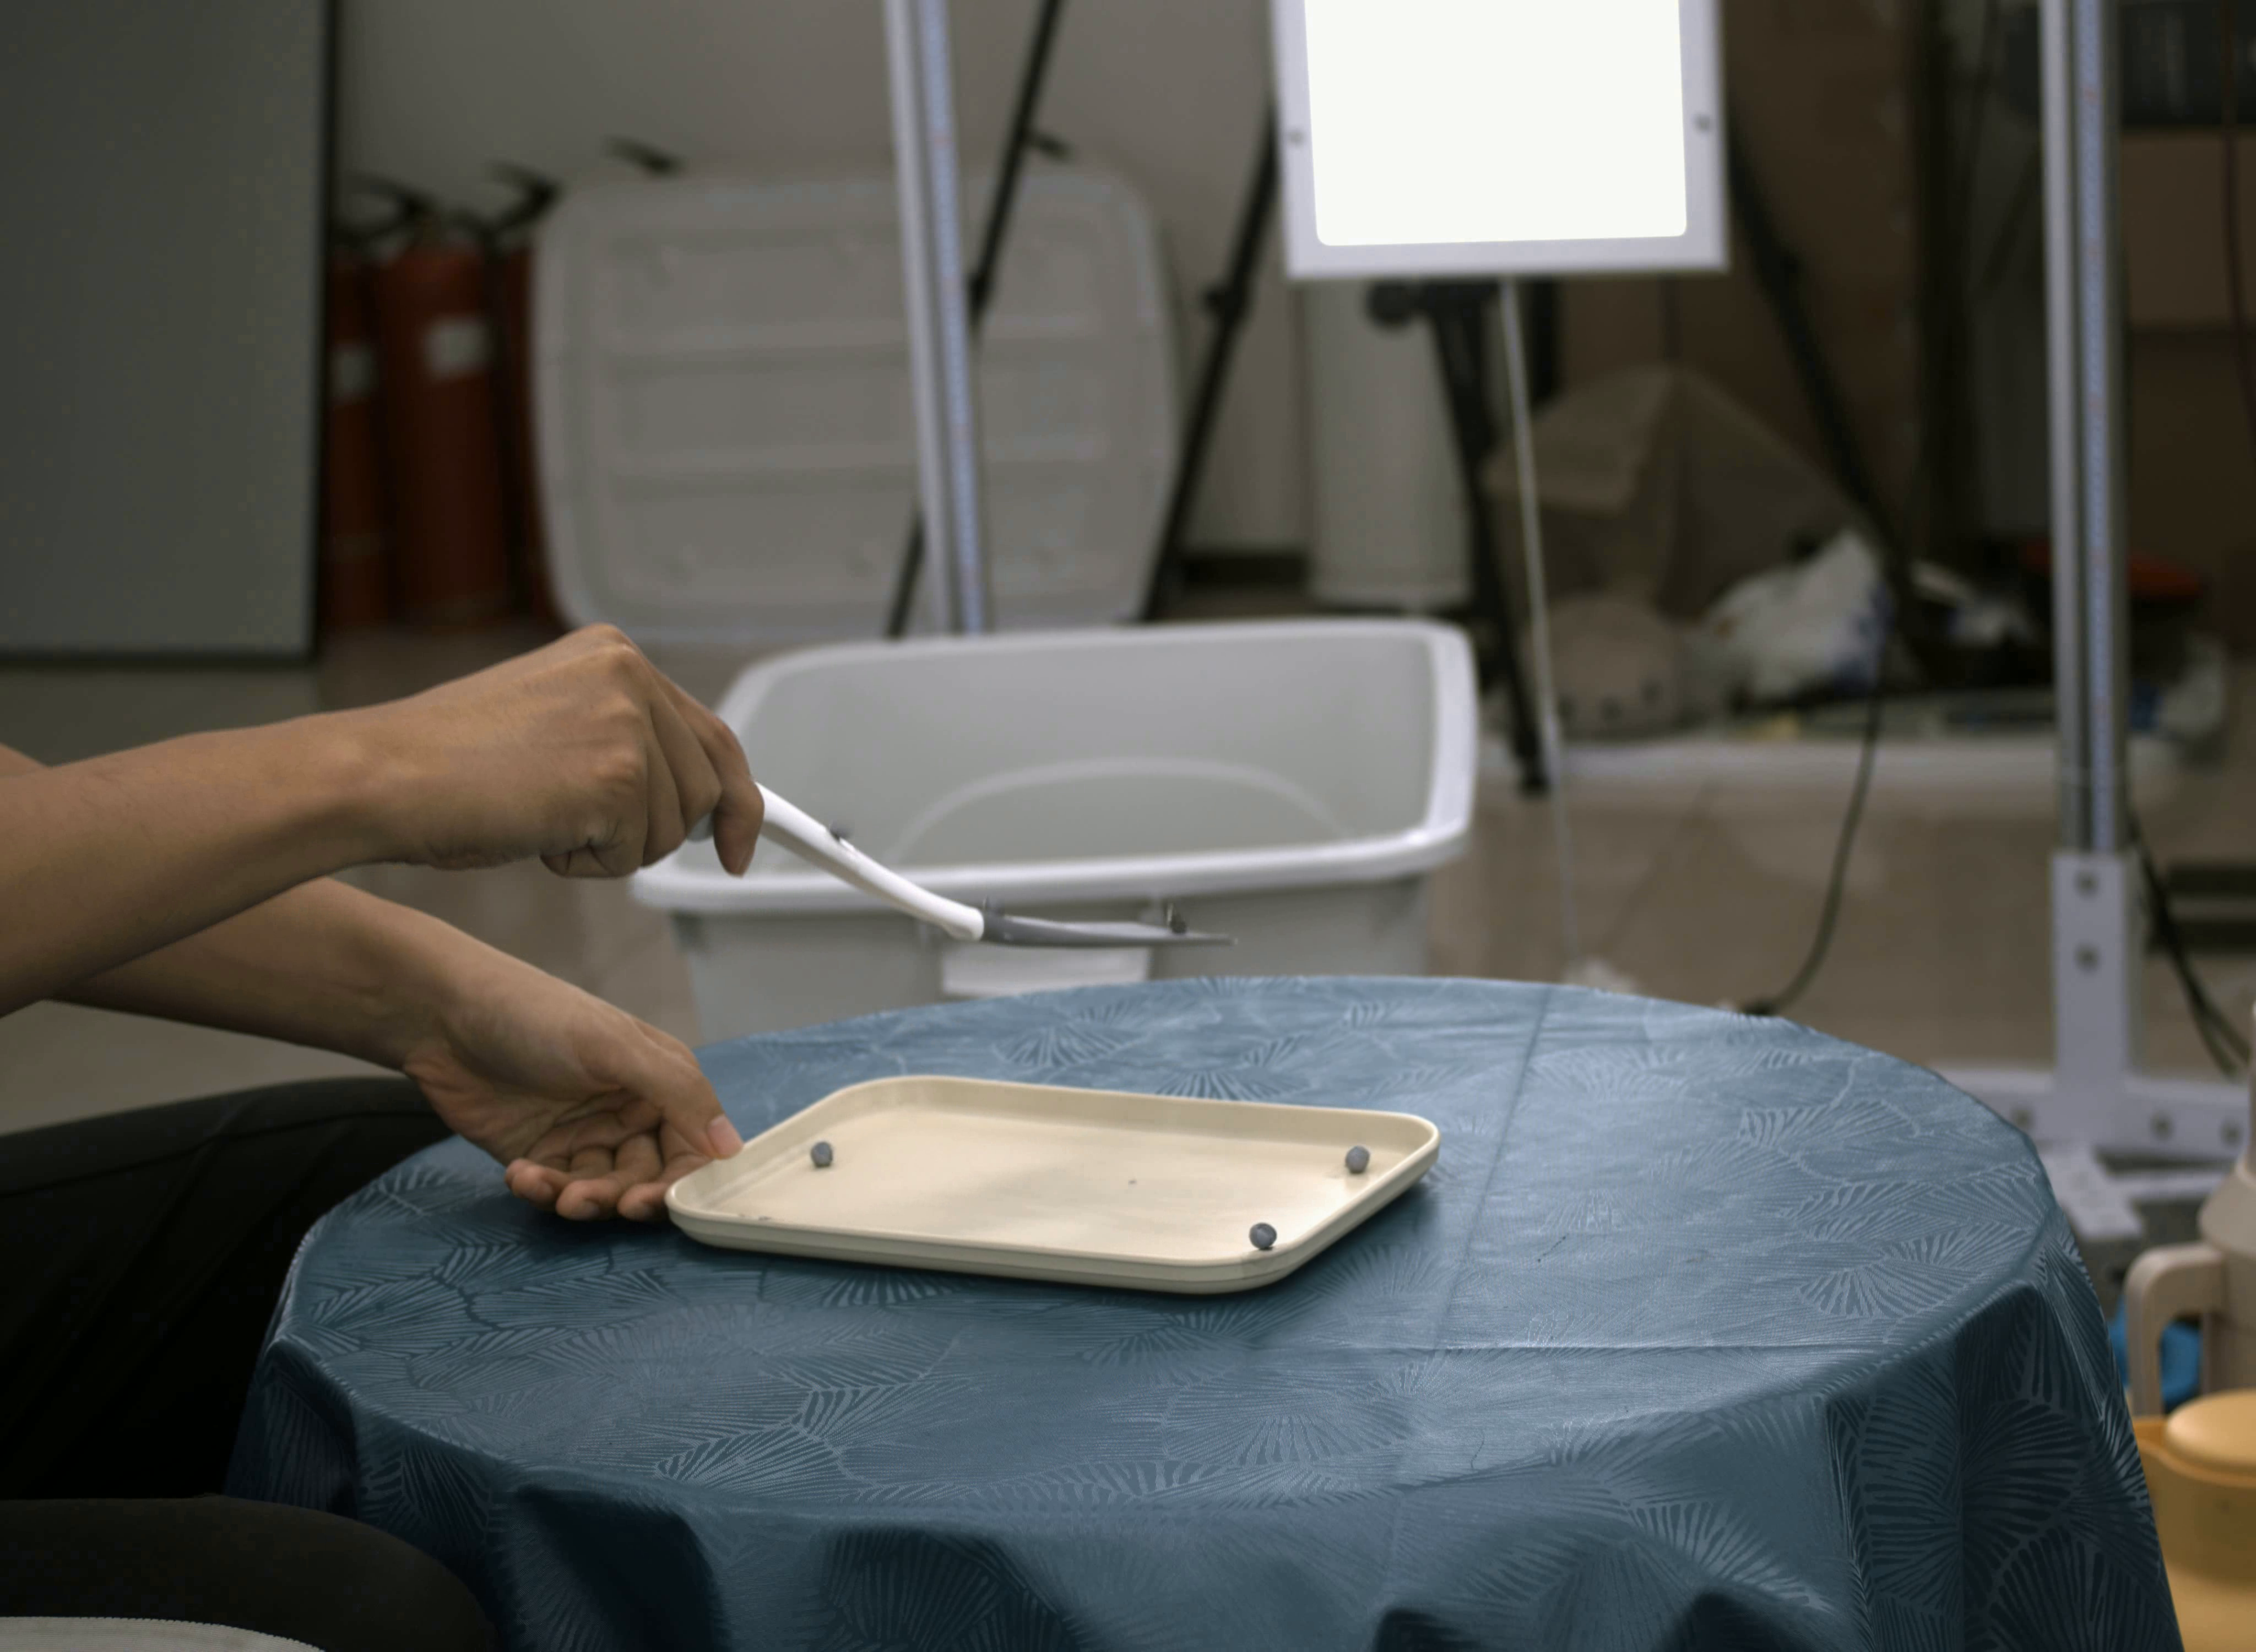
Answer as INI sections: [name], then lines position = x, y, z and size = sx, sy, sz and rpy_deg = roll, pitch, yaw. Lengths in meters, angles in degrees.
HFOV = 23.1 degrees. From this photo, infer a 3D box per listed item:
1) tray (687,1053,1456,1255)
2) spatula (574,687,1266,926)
[tray]
position = -0.018, 0.113, 1.898
size = 0.244, 0.017, 0.167
rpy_deg = 2, 14, 29
[spatula]
position = -0.067, 0.006, 1.830
size = 0.281, 0.032, 0.060
rpy_deg = 19, -12, -42
